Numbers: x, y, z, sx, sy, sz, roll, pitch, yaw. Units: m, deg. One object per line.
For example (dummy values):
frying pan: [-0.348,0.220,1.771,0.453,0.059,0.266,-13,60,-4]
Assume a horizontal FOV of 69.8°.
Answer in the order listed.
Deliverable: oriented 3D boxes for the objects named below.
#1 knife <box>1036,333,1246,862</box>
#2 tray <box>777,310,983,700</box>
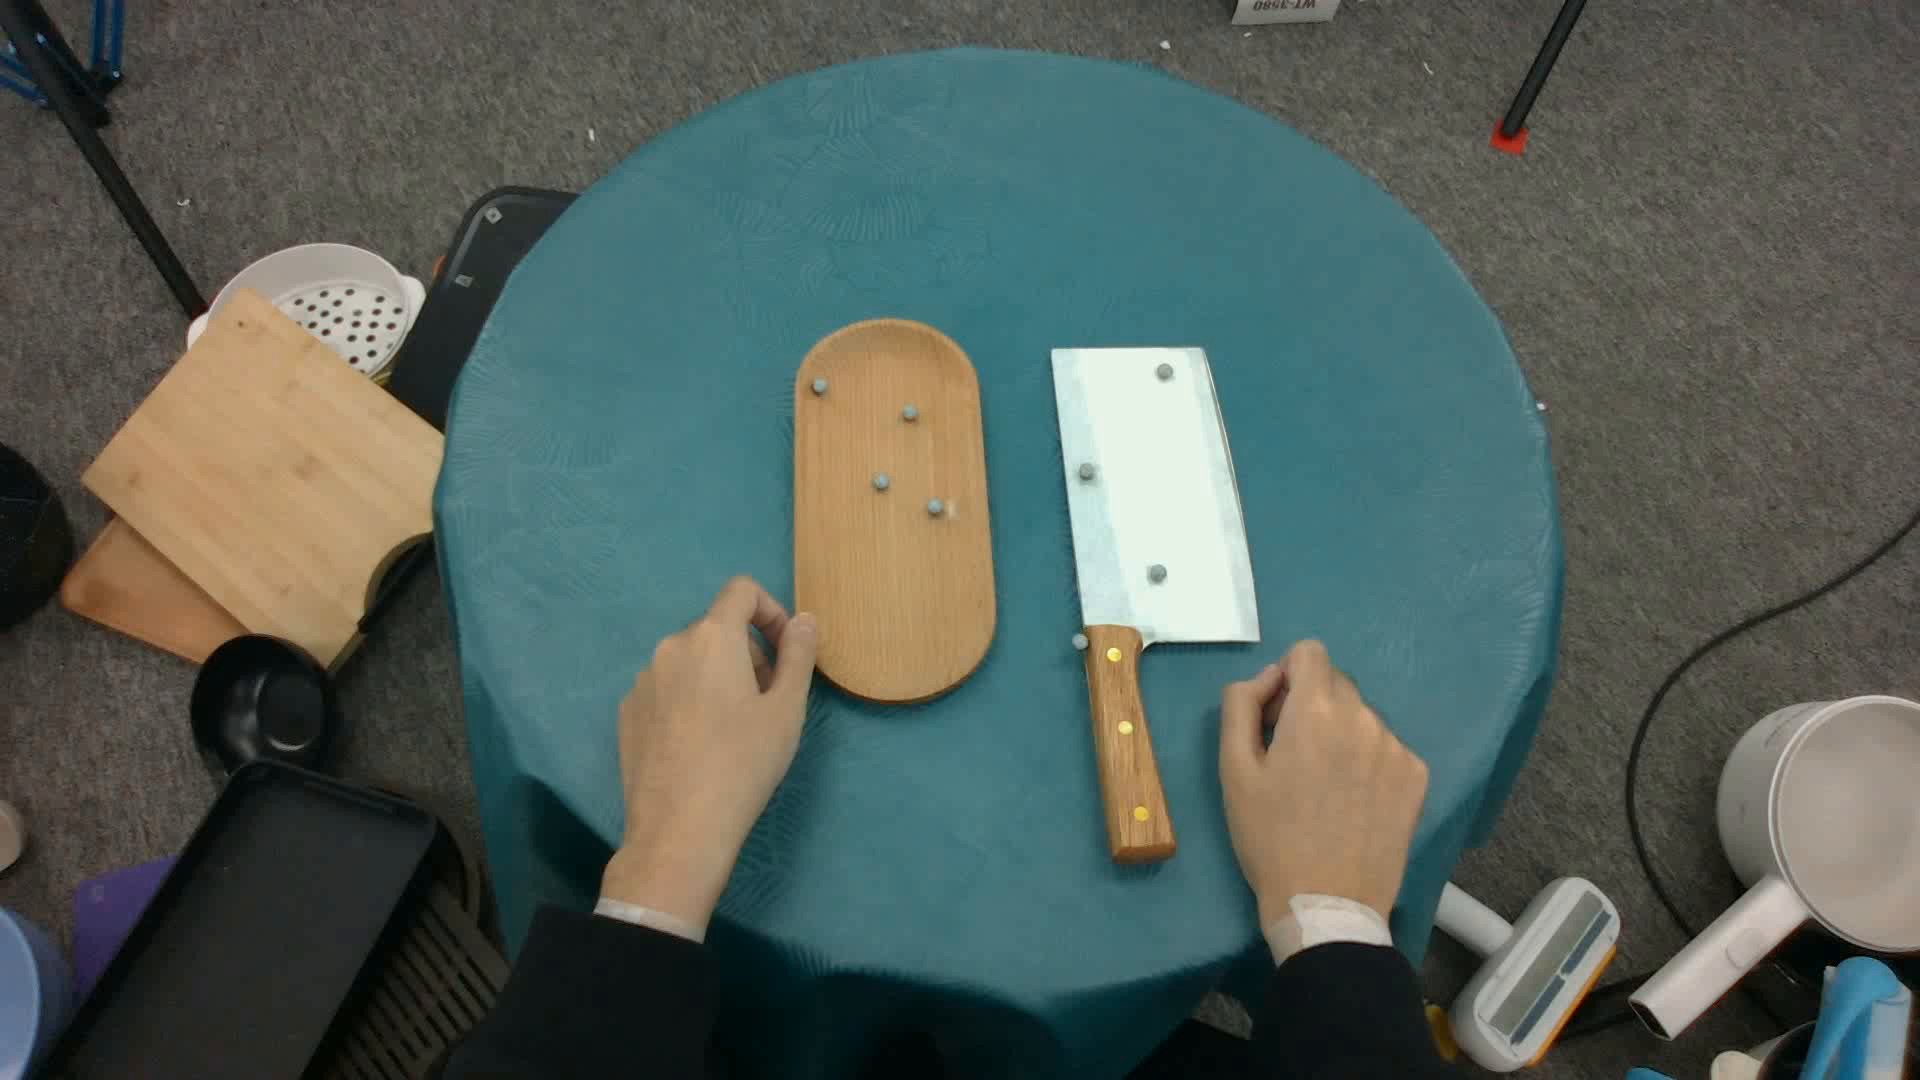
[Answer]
knife: [0.096,0.013,0.703,0.093,0.021,0.307,-1,58,-6]
tray: [-0.043,-0.025,0.714,0.102,0.020,0.232,-1,61,-4]
